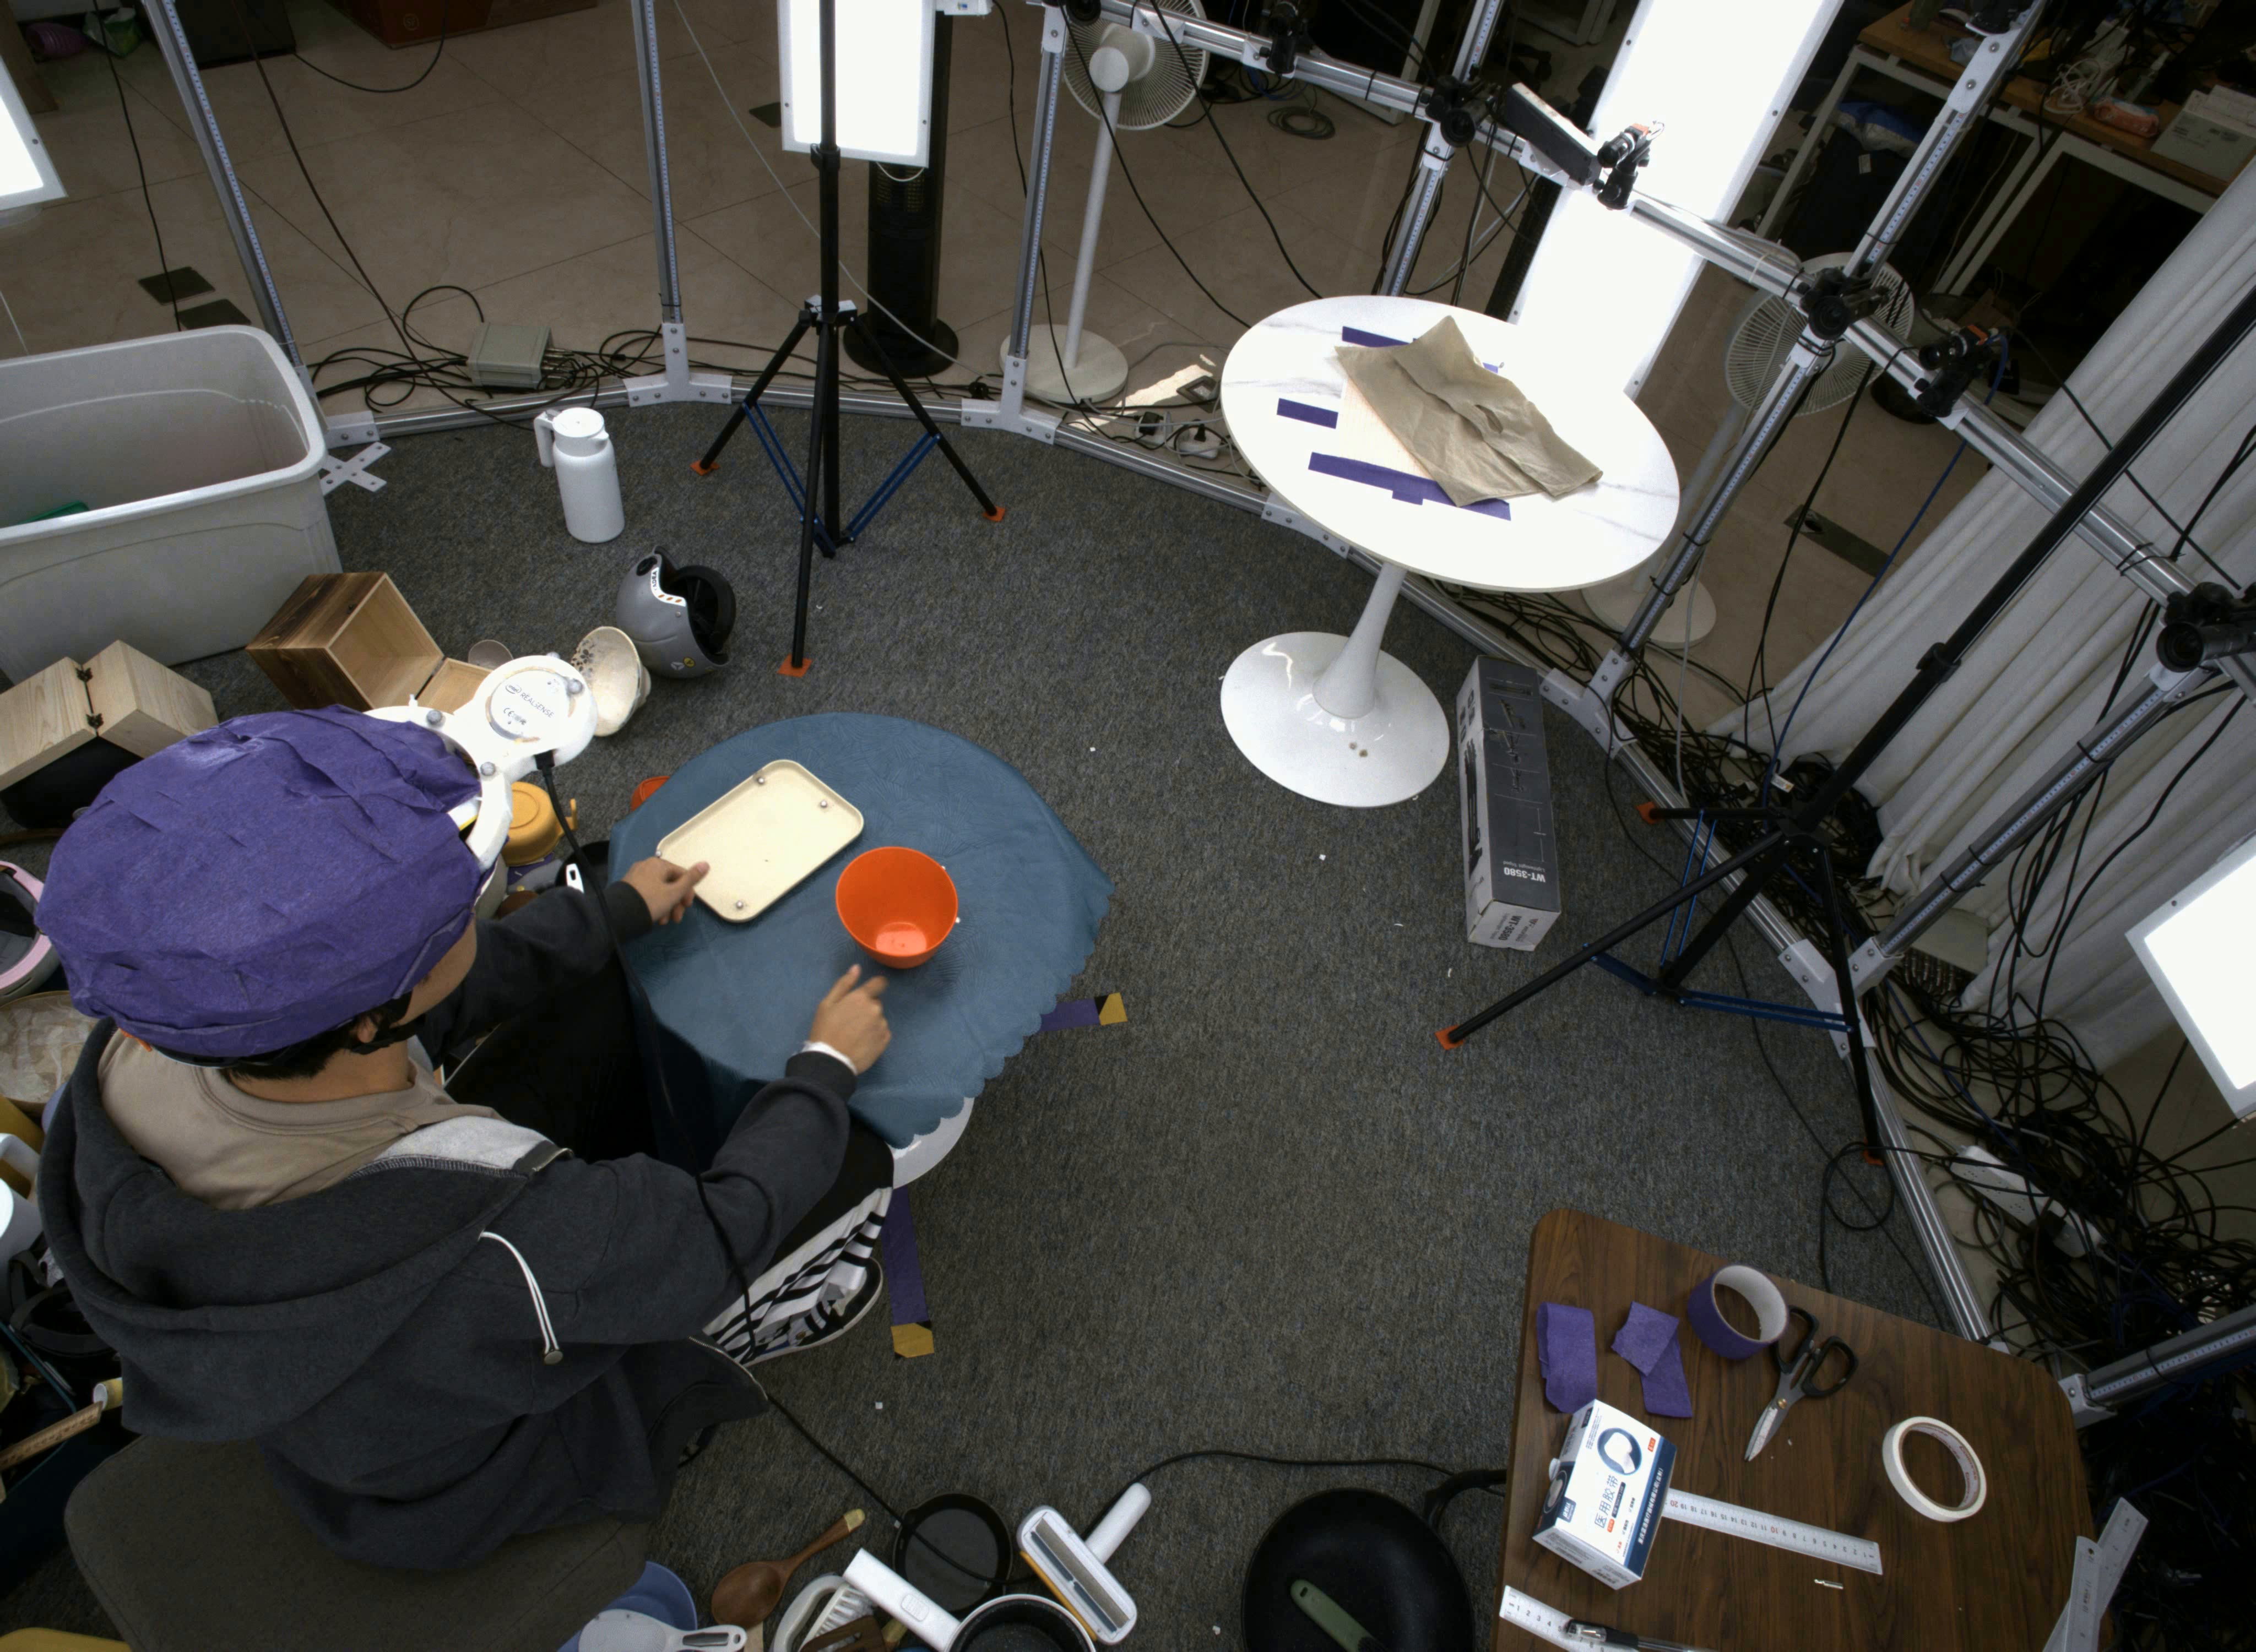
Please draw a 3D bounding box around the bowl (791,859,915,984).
[{"bbox_3d":[-0.336,0.128,1.591,0.147,0.107,0.145,7,52,-8],"label":"bowl"}]

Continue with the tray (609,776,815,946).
[{"bbox_3d":[-0.534,0.041,1.659,0.168,0.018,0.239,35,53,11],"label":"tray"}]
